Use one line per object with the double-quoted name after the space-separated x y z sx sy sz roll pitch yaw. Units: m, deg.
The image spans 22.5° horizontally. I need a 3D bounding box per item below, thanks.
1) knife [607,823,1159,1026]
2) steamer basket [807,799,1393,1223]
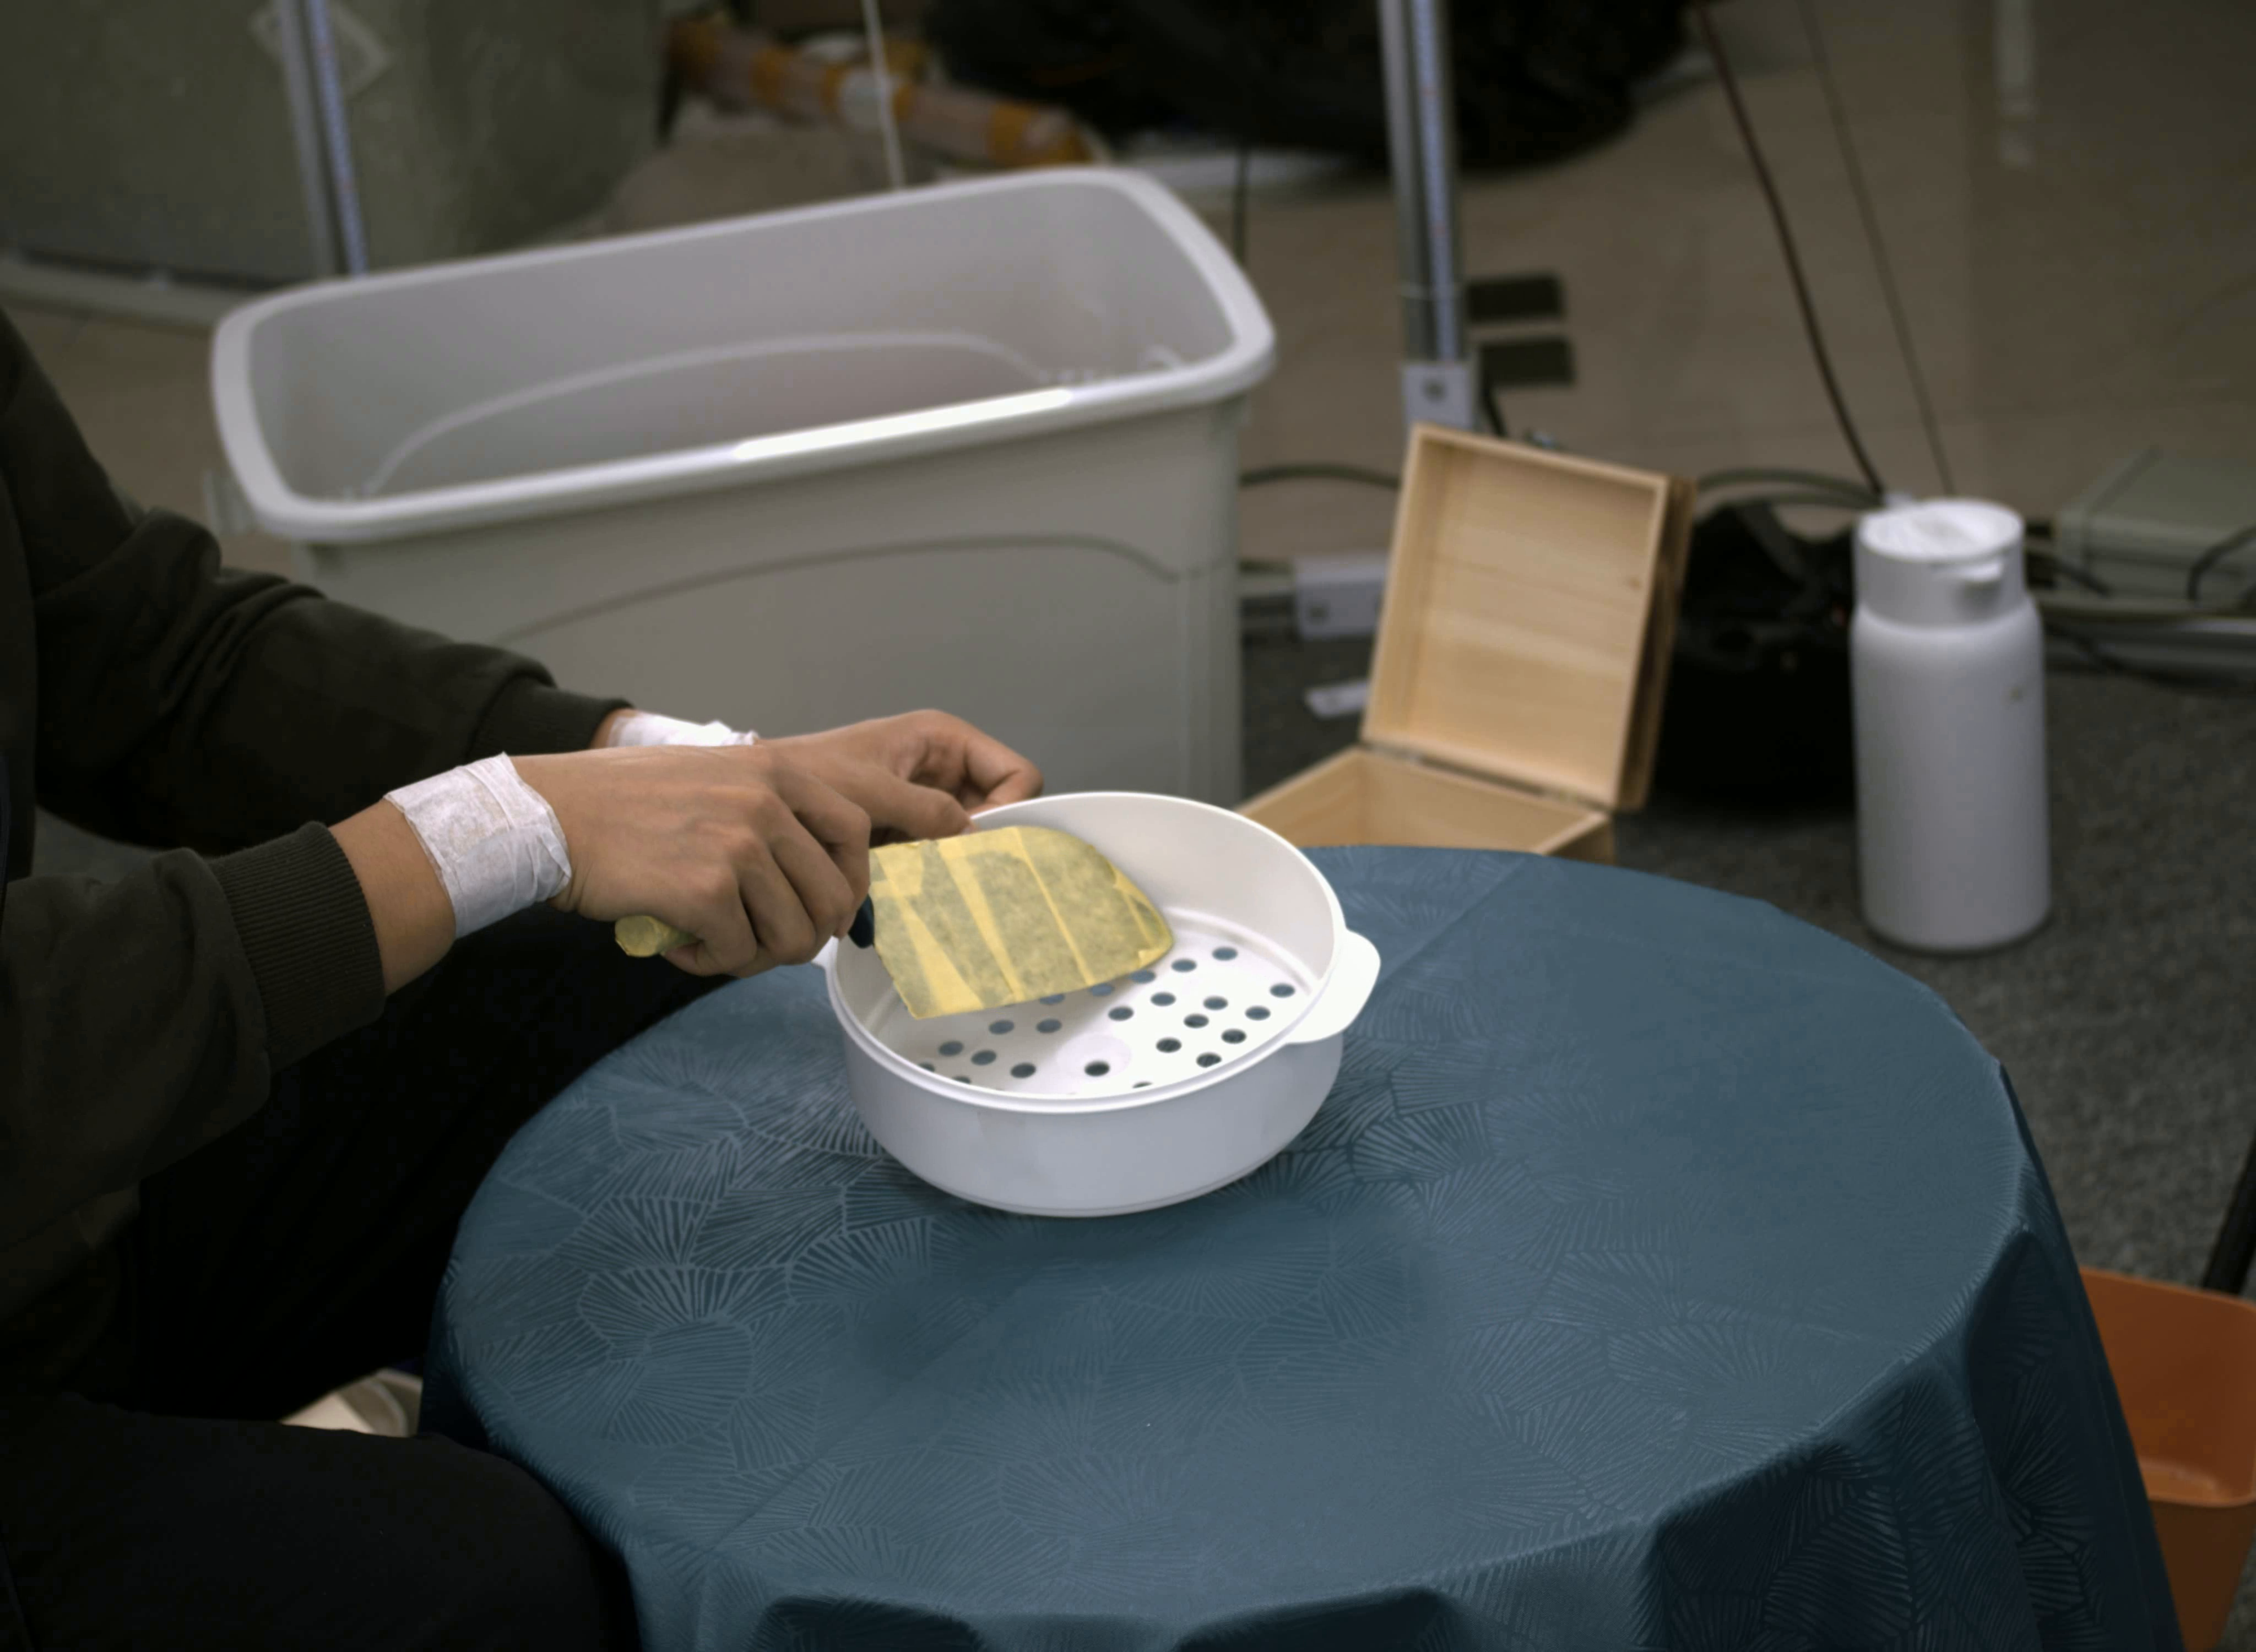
-0.085 0.040 2.158 0.289 0.027 0.080 -7 63 -48 "knife"
-0.010 0.071 2.190 0.230 0.070 0.199 8 38 19 "steamer basket"
